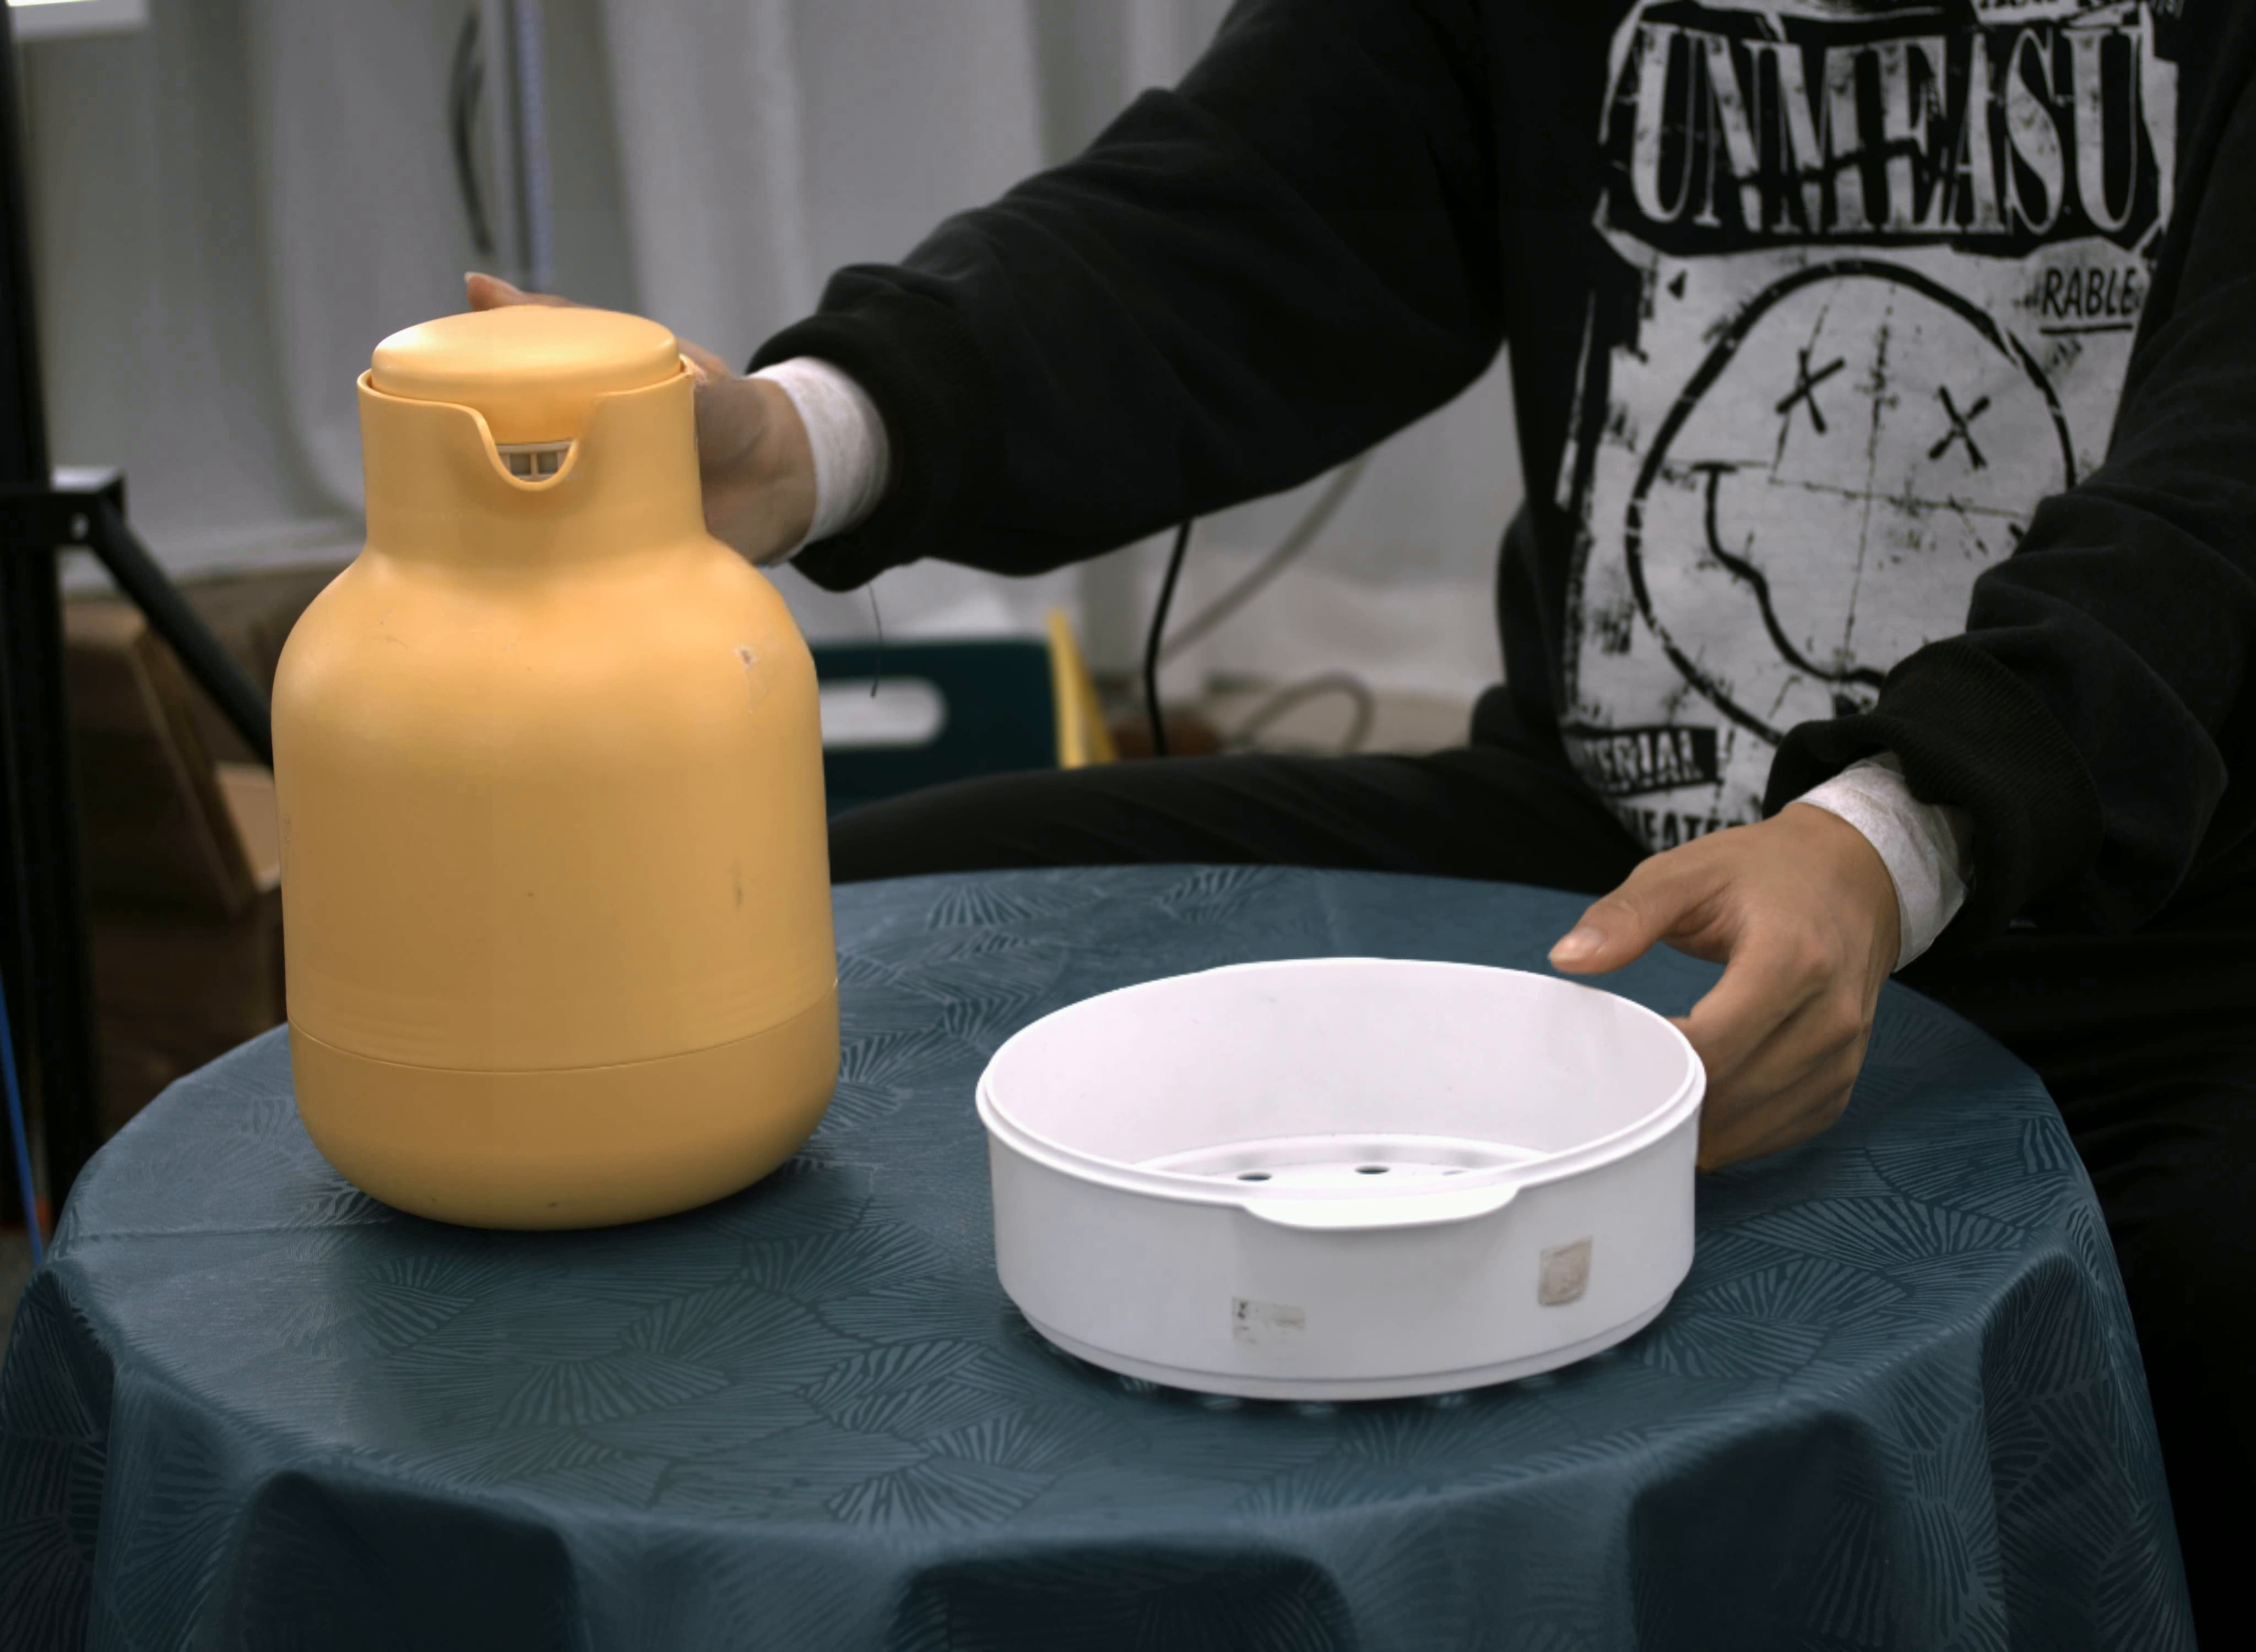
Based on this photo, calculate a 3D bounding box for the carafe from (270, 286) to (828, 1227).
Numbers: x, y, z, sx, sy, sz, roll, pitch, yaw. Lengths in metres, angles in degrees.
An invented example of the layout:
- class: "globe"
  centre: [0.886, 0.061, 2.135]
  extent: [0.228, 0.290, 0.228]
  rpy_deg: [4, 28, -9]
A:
- class: "carafe"
  centre: [-0.171, -0.029, 1.585]
  extent: [0.162, 0.260, 0.204]
  rpy_deg: [0, 17, -4]

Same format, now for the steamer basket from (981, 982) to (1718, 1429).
- class: "steamer basket"
  centre: [0.061, 0.103, 1.453]
  extent: [0.200, 0.069, 0.232]
  rpy_deg: [-4, 15, -2]
